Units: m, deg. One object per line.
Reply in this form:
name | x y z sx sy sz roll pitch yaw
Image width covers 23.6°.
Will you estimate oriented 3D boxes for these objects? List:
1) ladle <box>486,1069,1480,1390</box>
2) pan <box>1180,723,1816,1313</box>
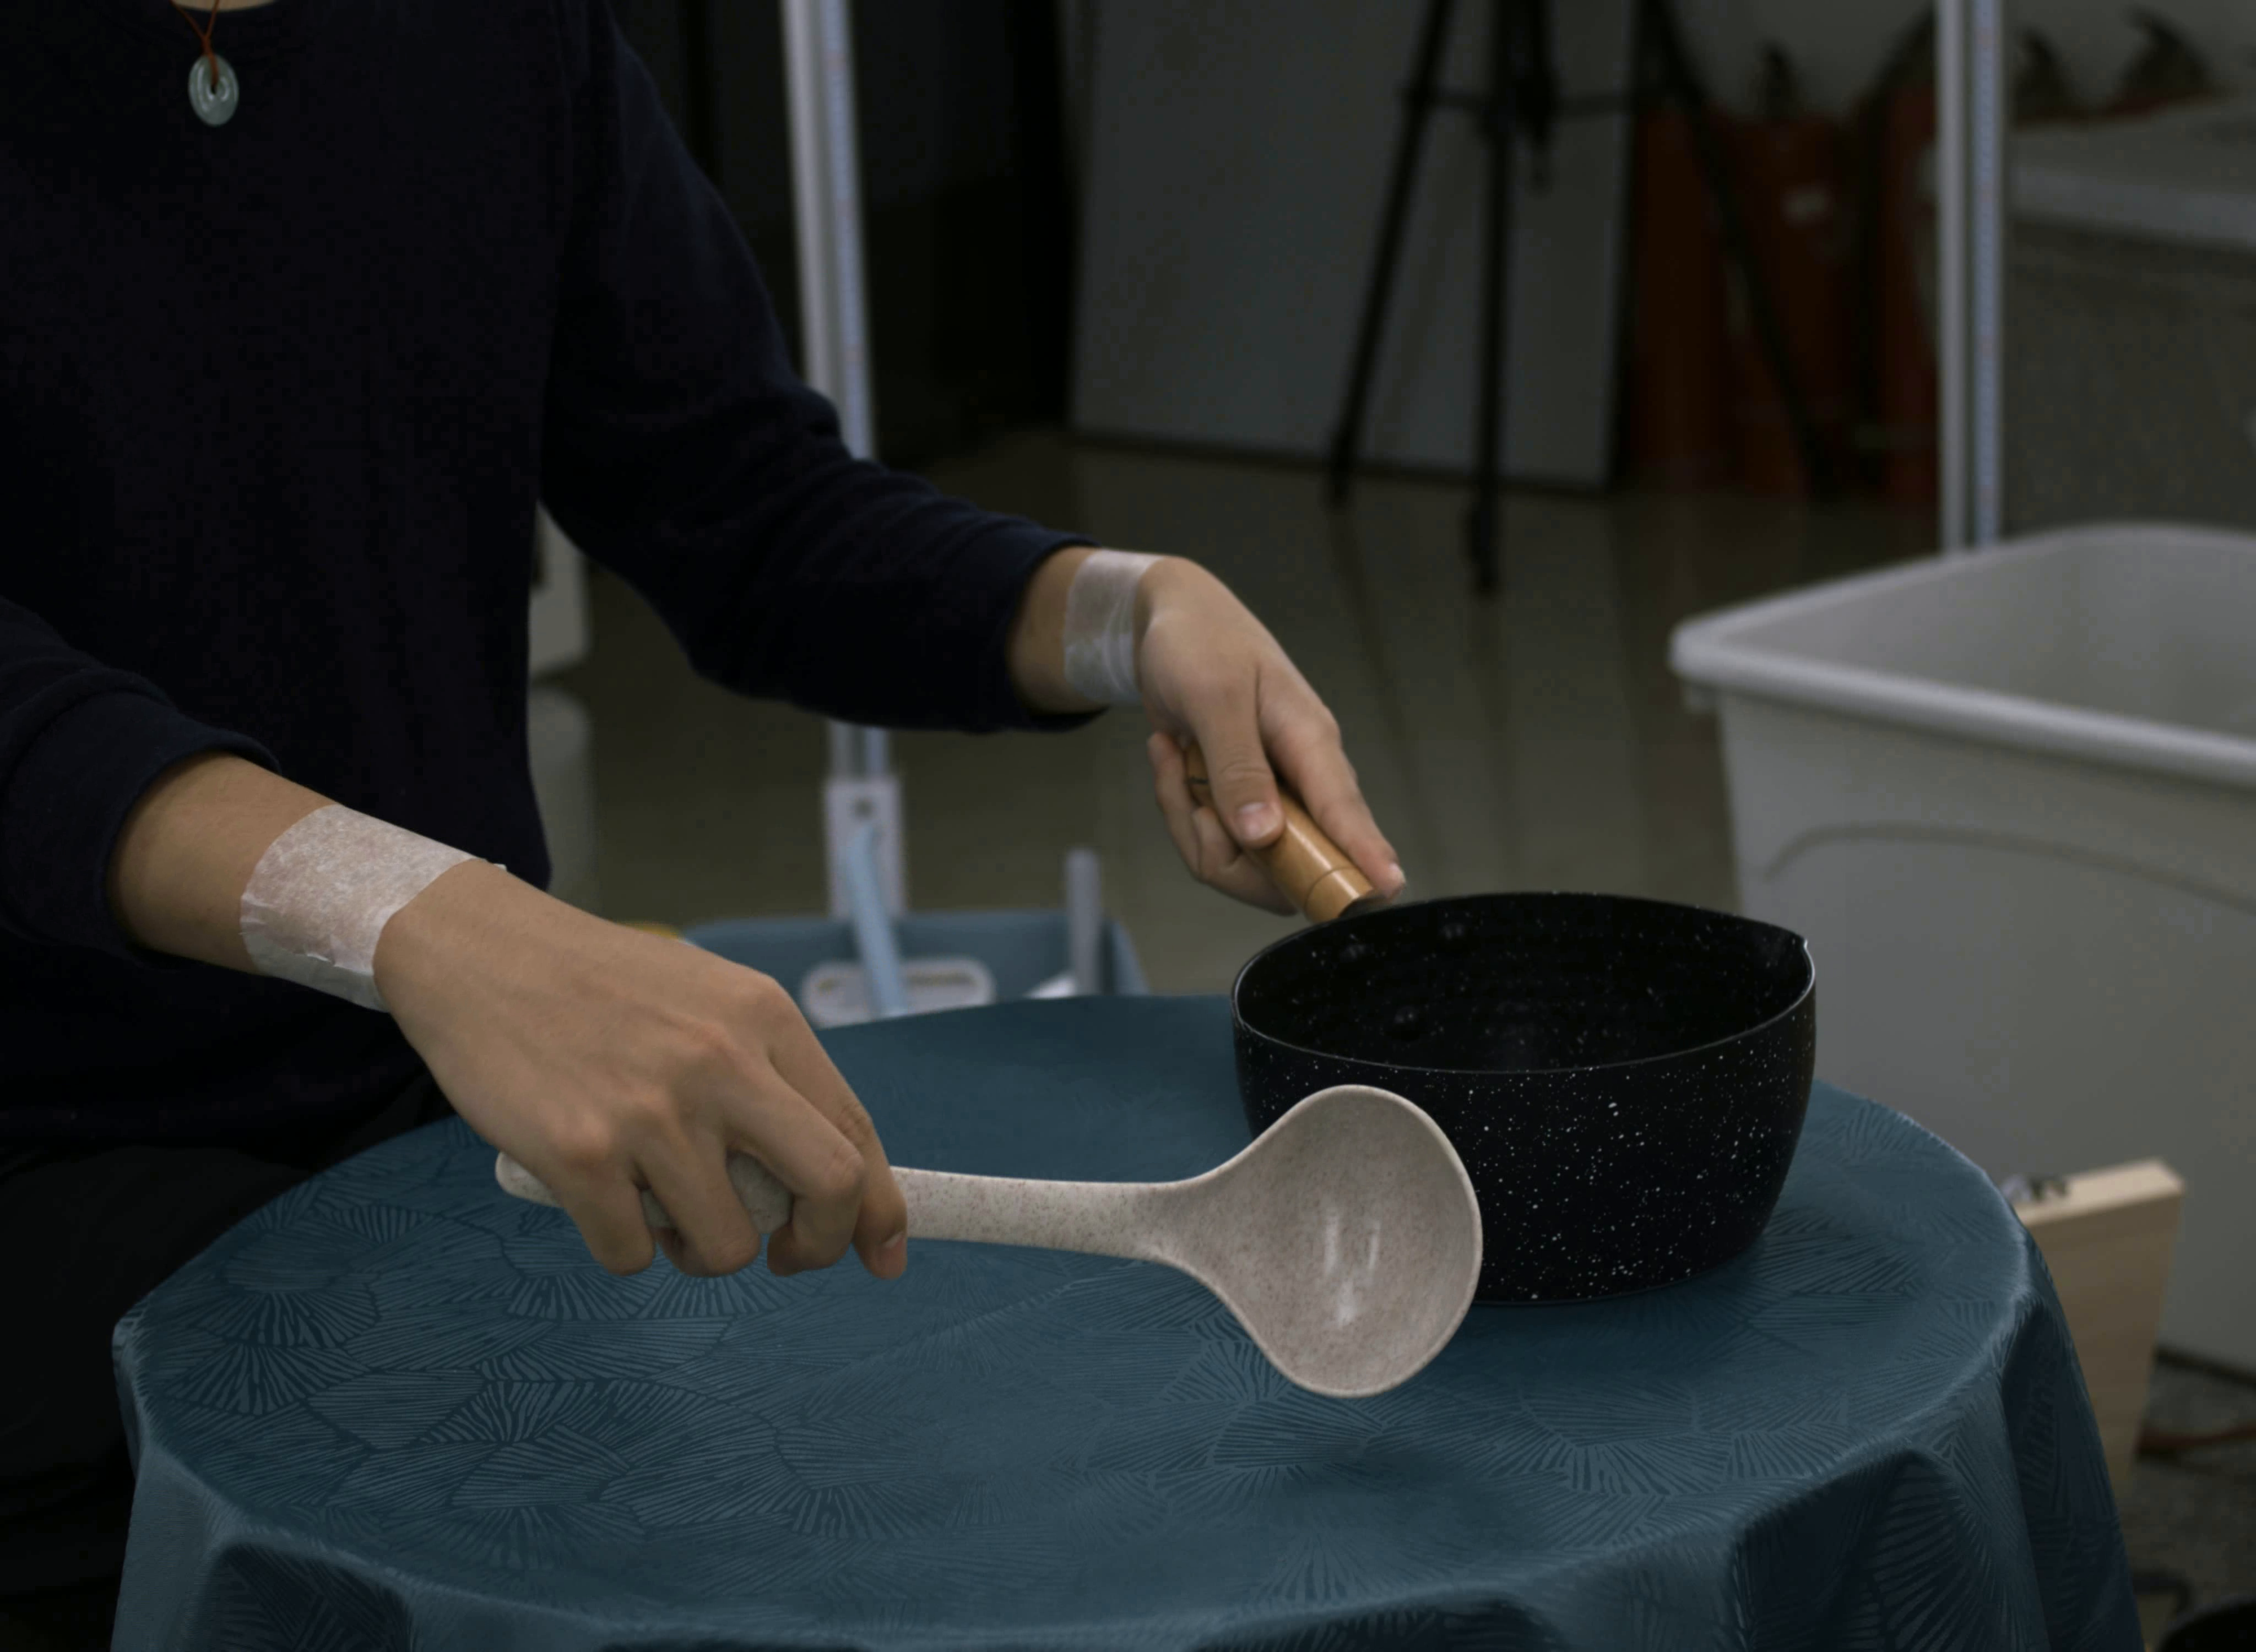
ladle | -0.037 0.103 1.480 0.269 0.090 0.070 6 4 -19
pan | 0.093 0.057 1.761 0.203 0.109 0.346 -11 18 -21
